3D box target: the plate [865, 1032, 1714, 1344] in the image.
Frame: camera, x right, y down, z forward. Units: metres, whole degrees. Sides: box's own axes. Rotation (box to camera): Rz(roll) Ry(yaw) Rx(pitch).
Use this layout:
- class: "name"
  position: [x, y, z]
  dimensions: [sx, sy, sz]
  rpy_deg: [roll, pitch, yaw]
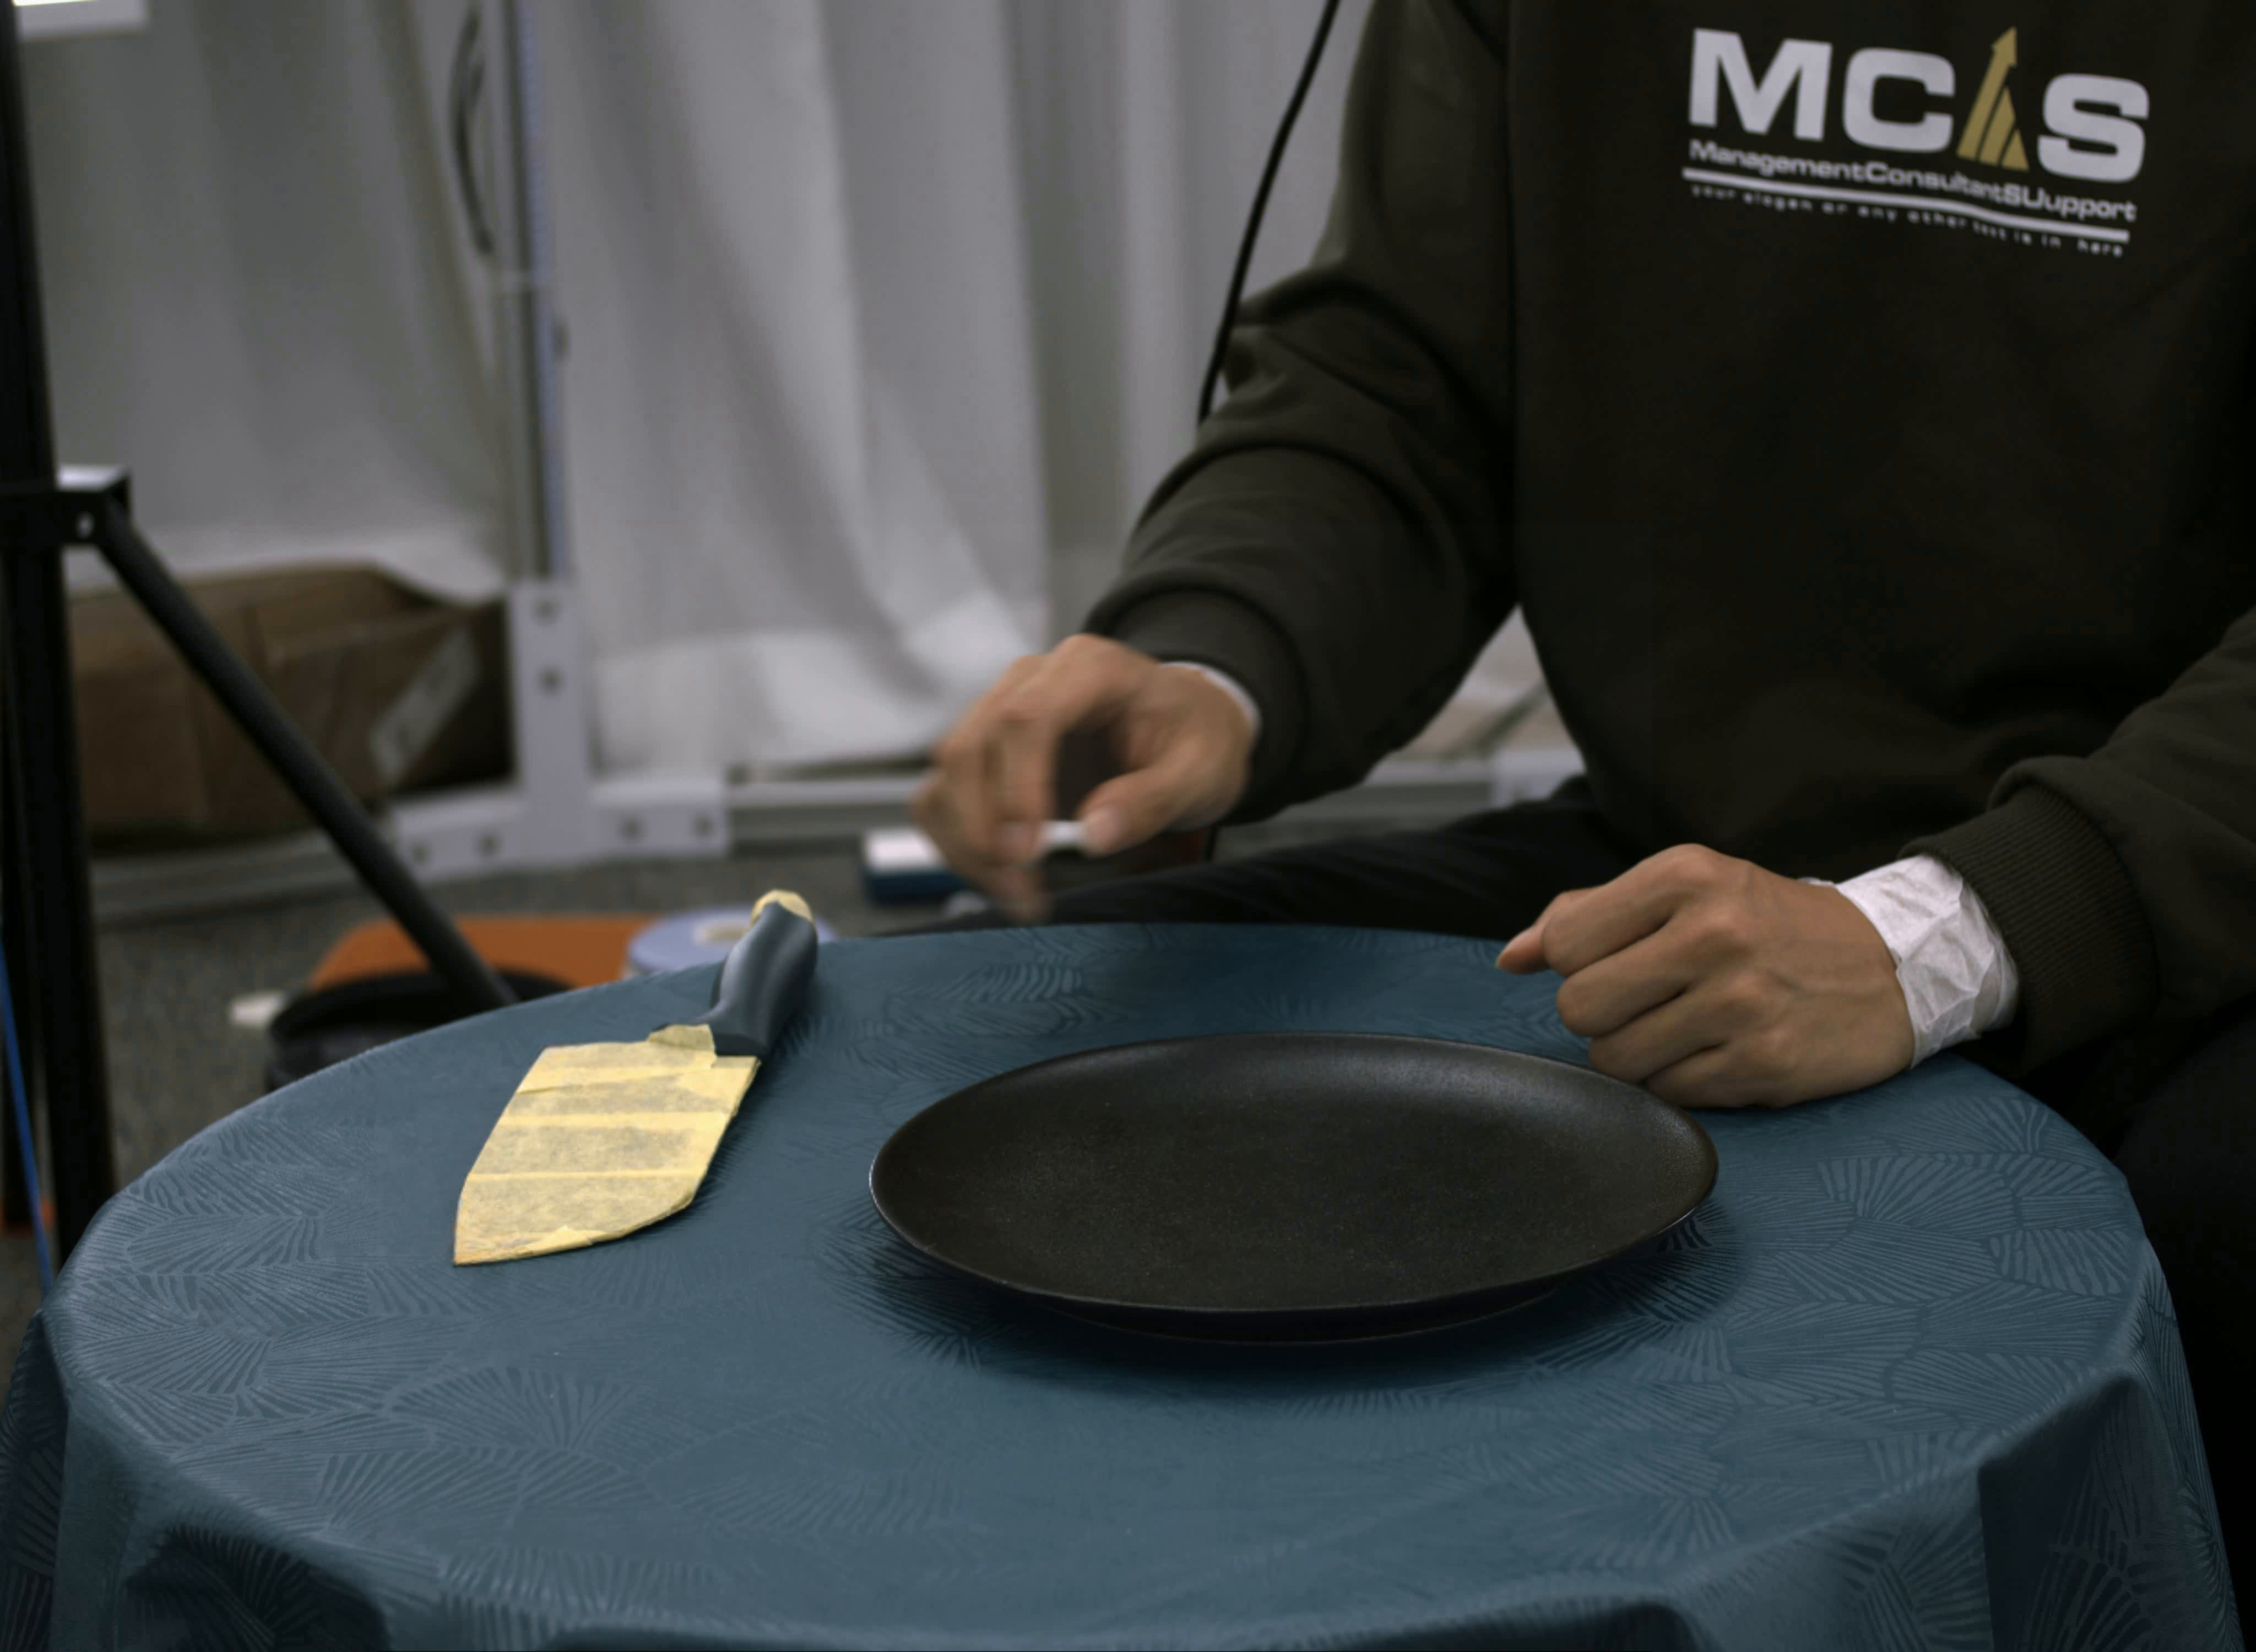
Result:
- class: "plate"
  position: [0.046, 0.106, 1.520]
  dimensions: [0.243, 0.023, 0.245]
  rpy_deg: [-3, 16, -1]

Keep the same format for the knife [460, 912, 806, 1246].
- class: "knife"
  position: [-0.150, 0.079, 1.662]
  dimensions: [0.081, 0.027, 0.288]
  rpy_deg: [2, 17, 10]
